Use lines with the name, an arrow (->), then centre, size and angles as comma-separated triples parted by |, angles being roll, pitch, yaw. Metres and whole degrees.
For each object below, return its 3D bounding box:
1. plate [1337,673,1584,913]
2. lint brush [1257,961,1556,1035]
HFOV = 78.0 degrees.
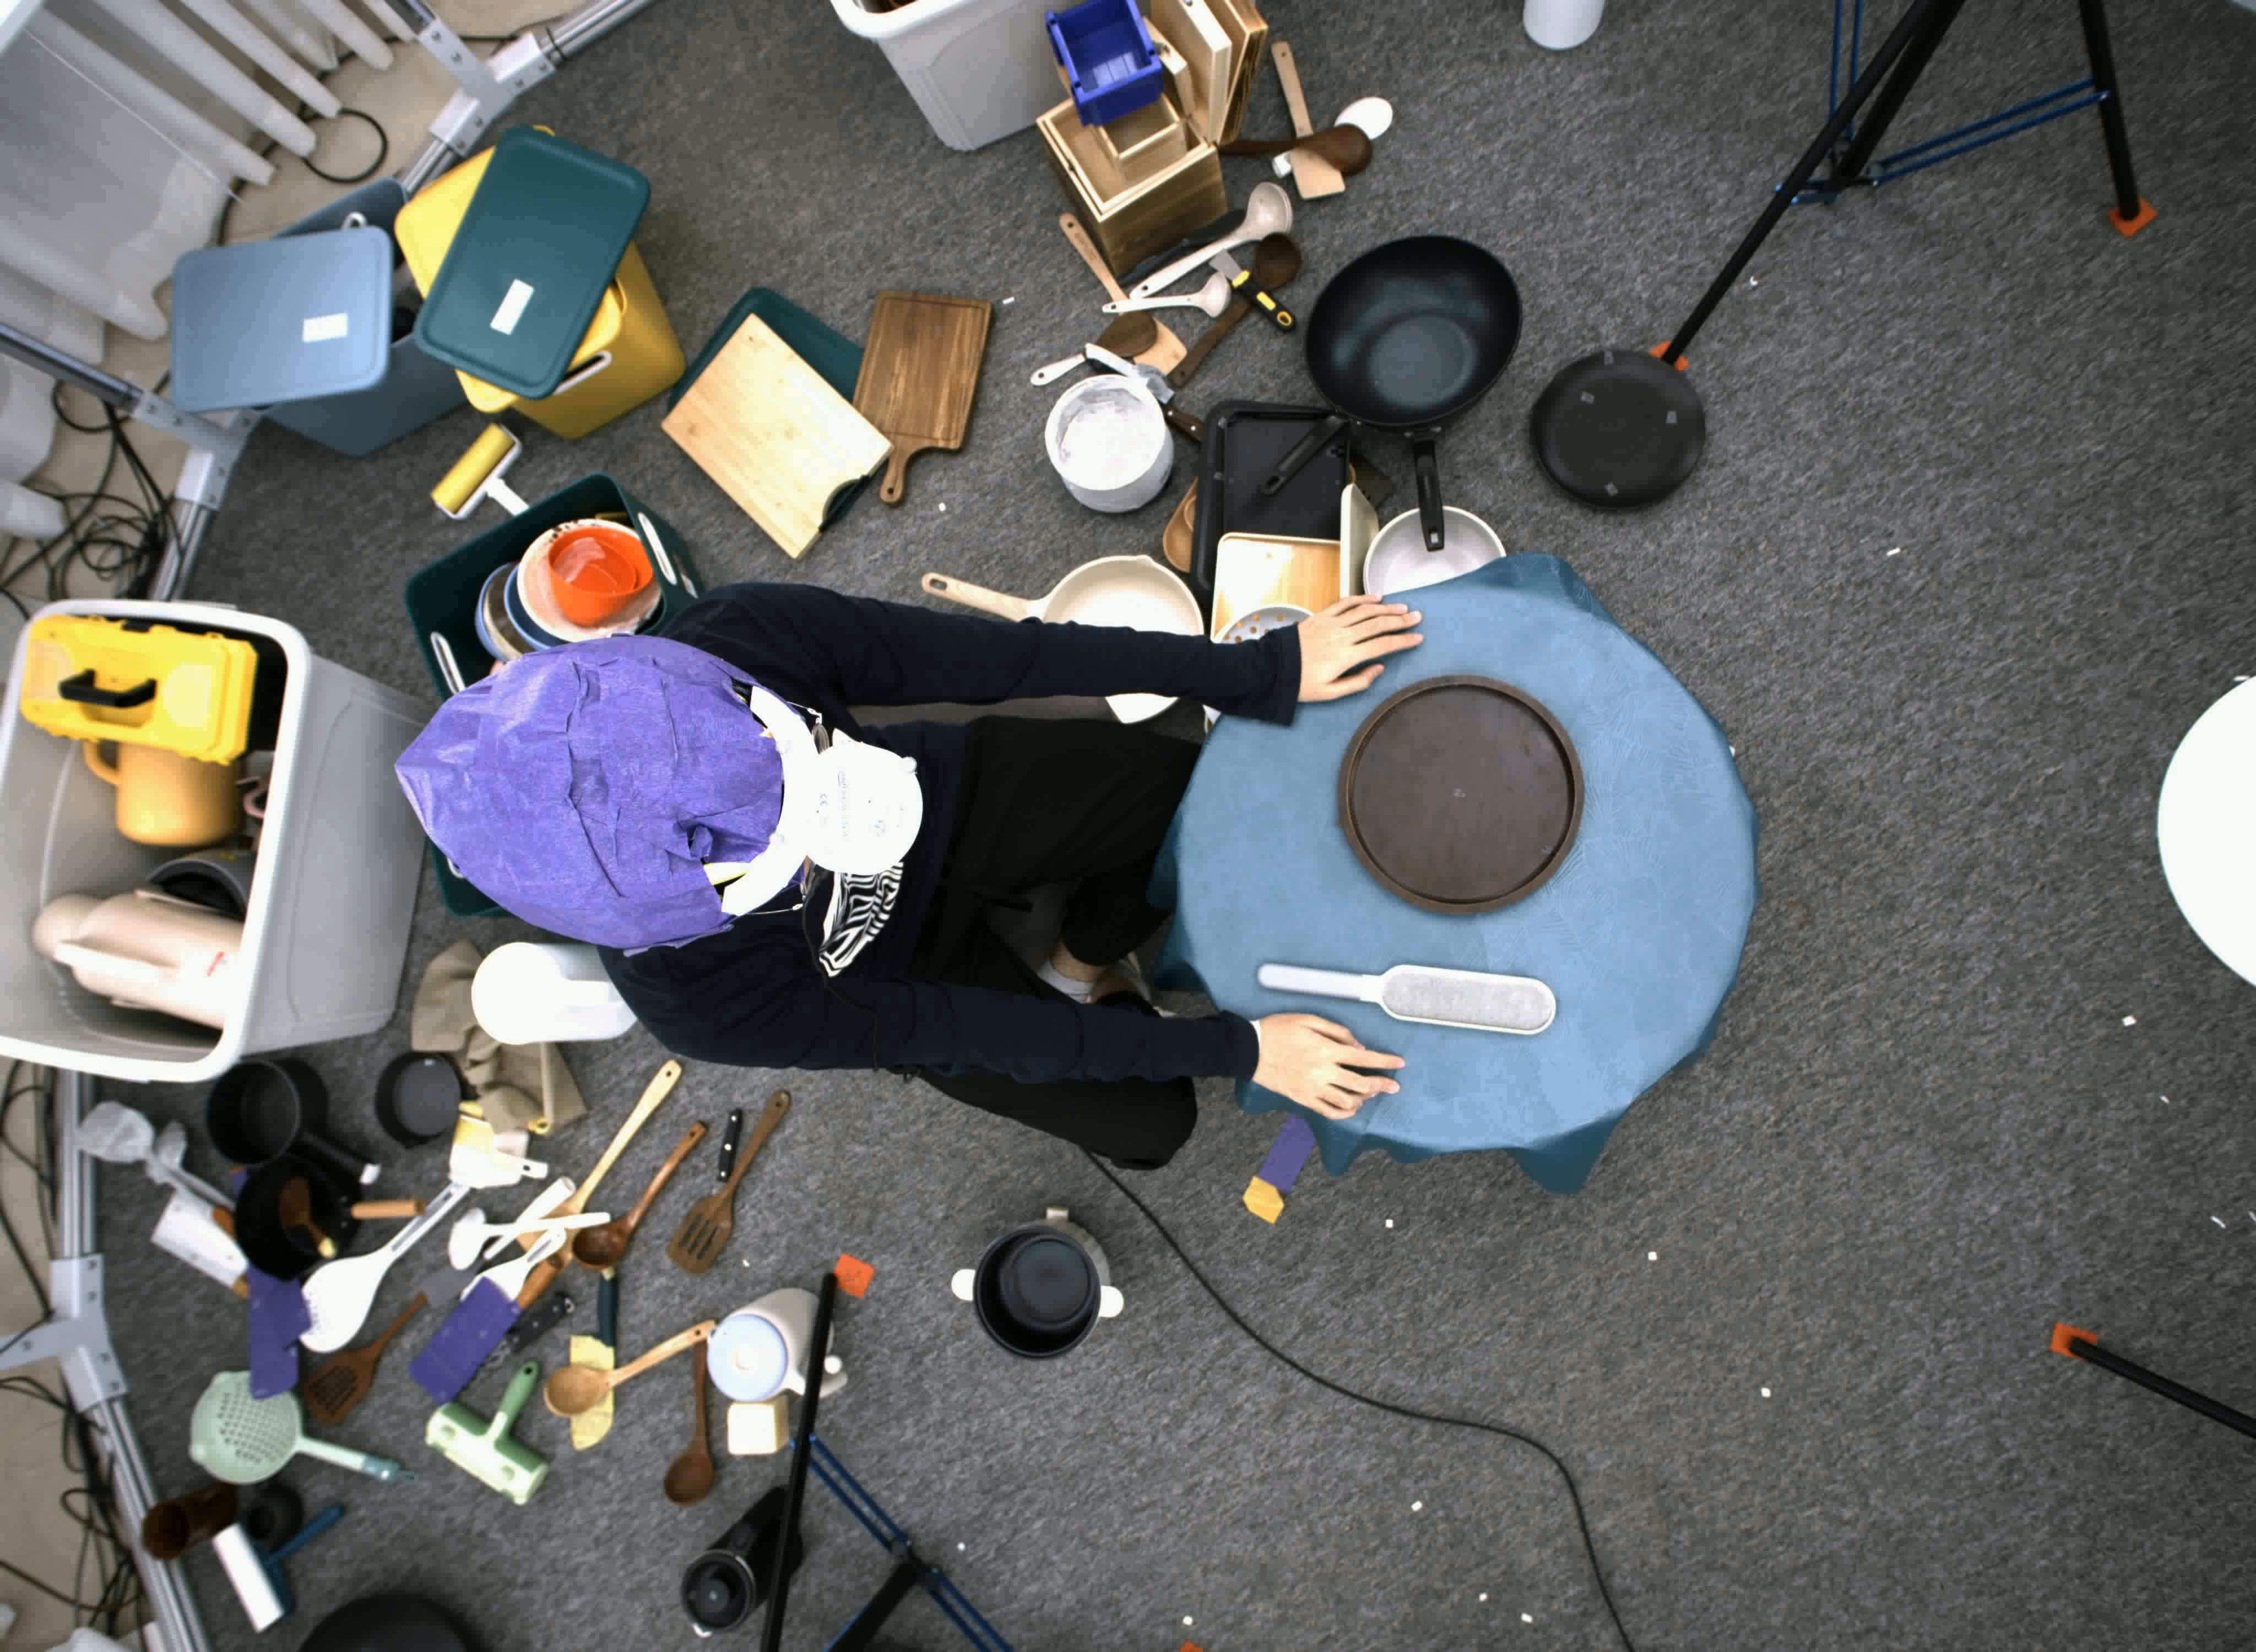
plate -> 0.346, -0.037, 1.439 | 0.256, 0.029, 0.253 | -1, 85, 10
lint brush -> 0.287, 0.170, 1.438 | 0.310, 0.021, 0.060 | 6, 93, 11
